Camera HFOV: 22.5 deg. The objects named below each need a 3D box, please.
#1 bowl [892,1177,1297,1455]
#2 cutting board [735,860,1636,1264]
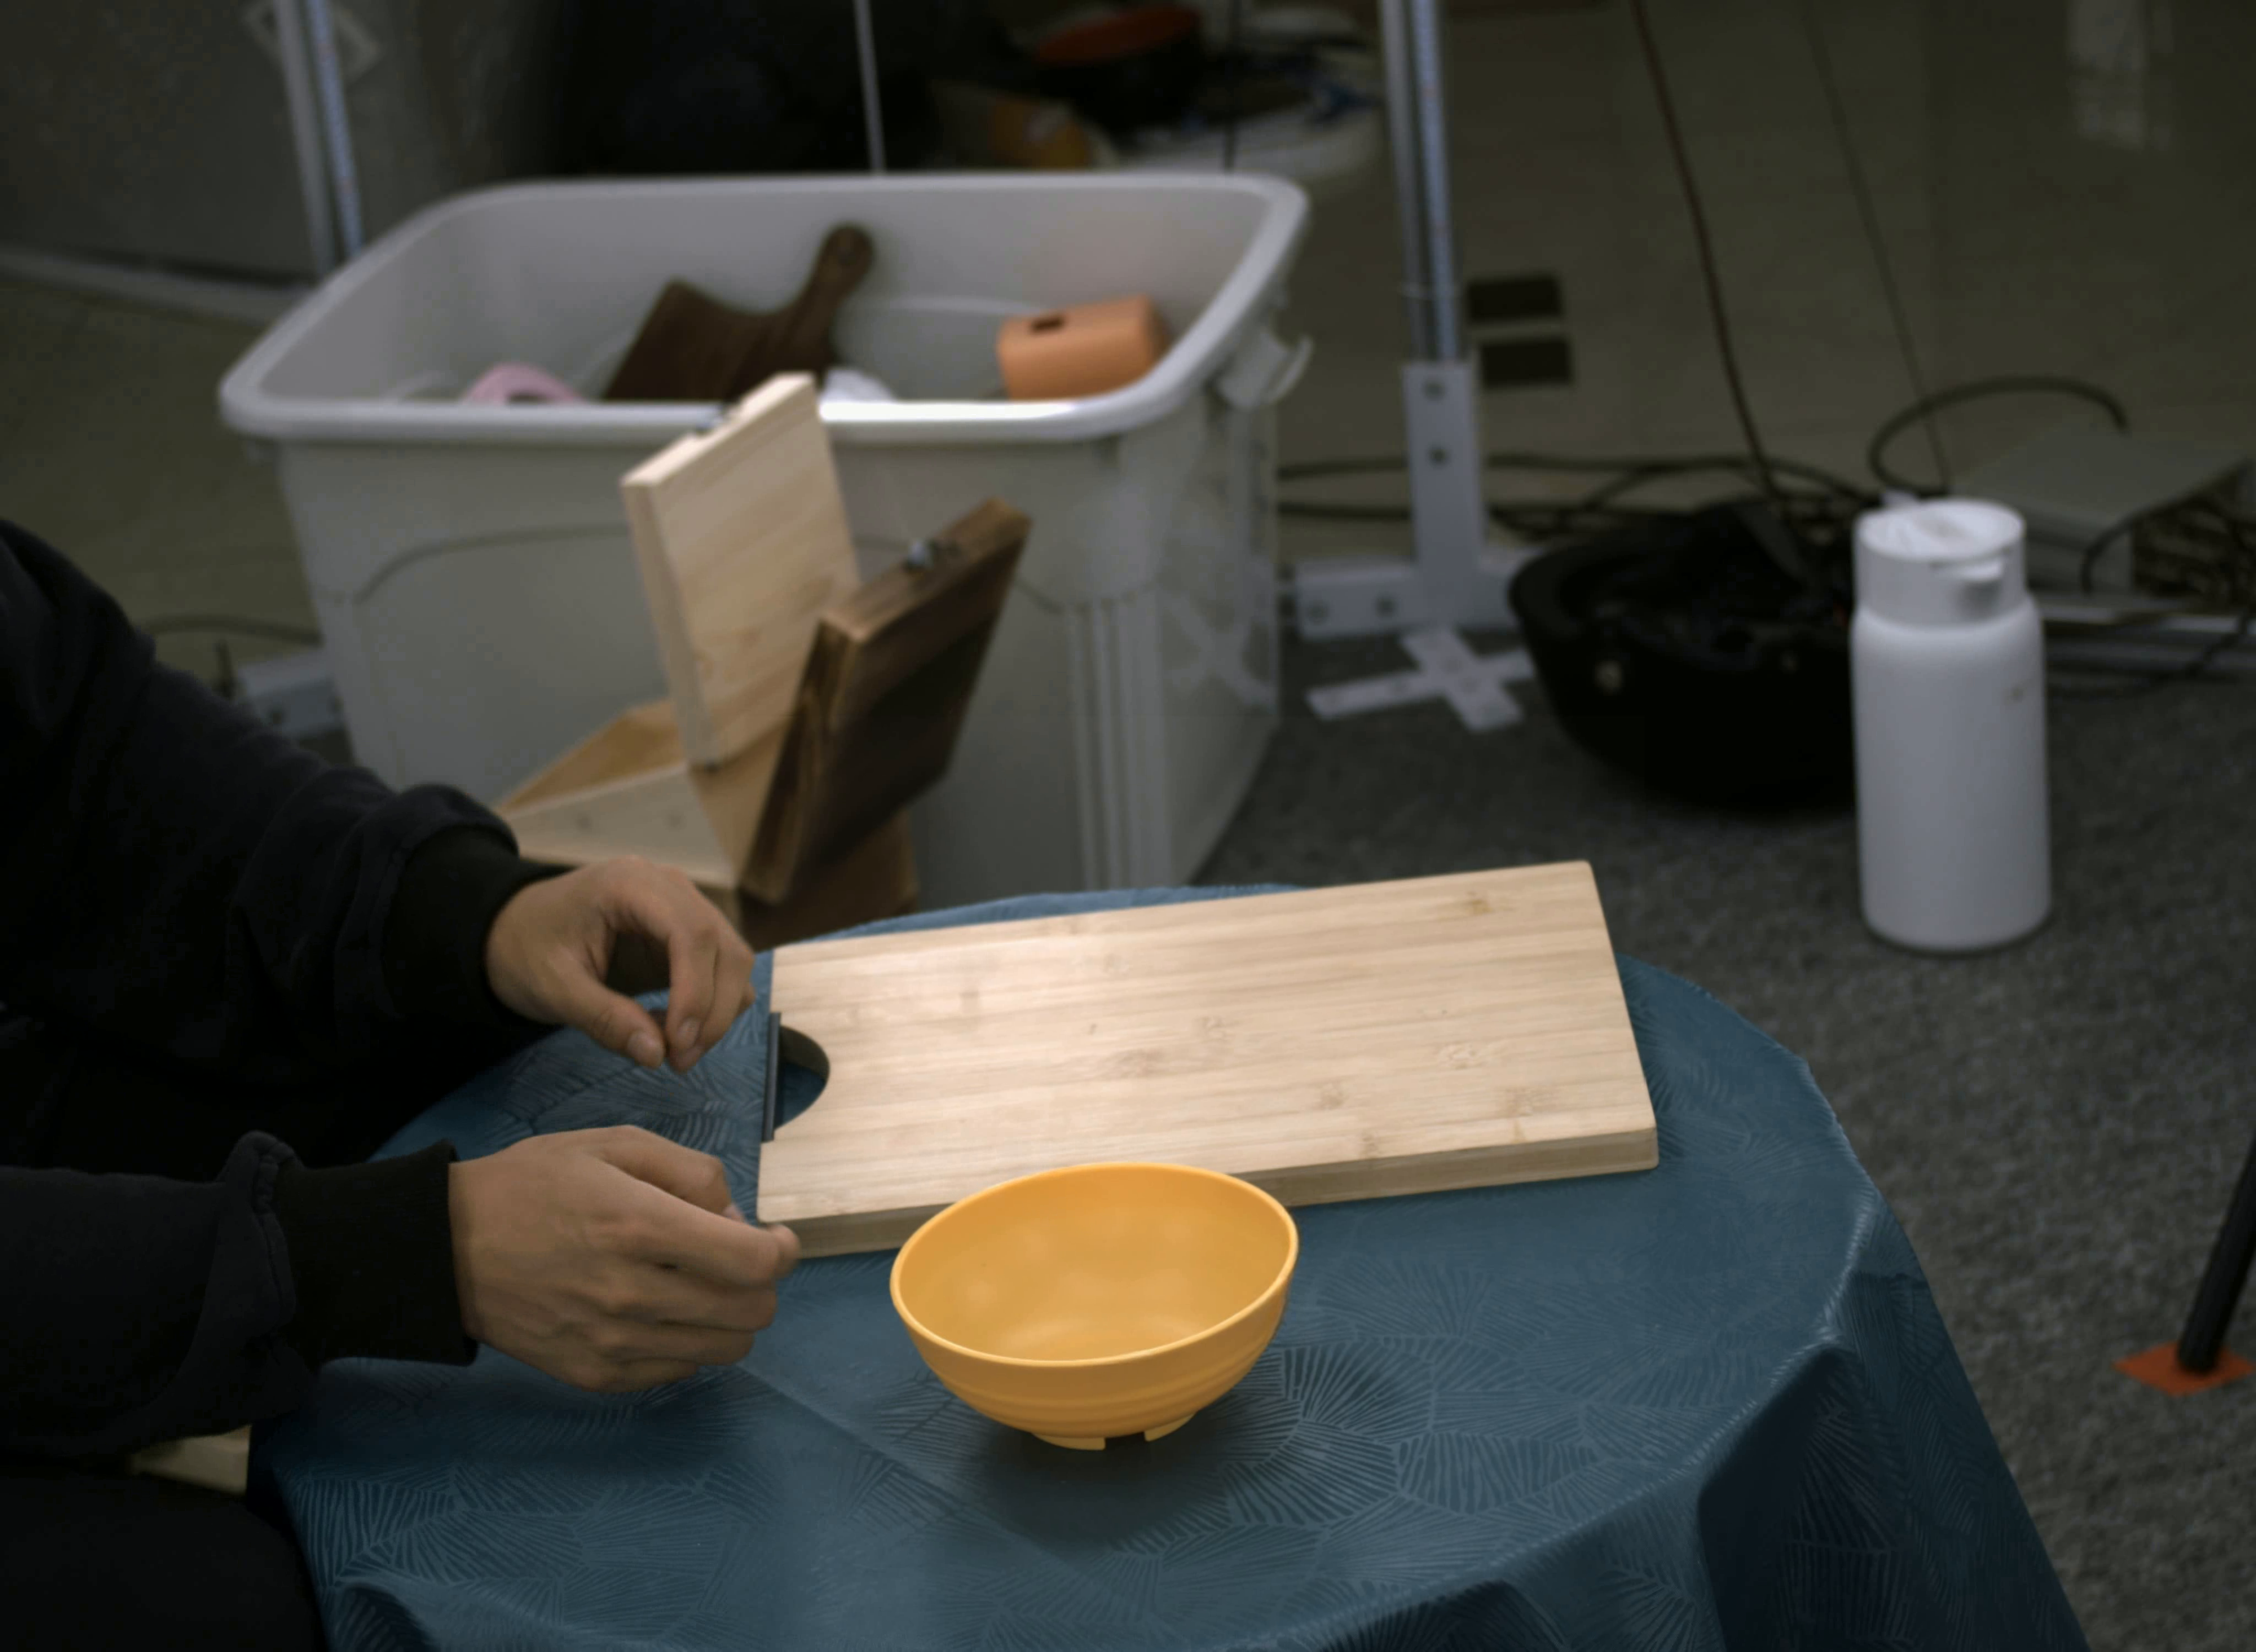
[{"bbox_3d":[-0.008,0.180,2.000,0.145,0.061,0.143,-6,23,3],"label":"bowl"},{"bbox_3d":[0.021,0.091,2.233,0.348,0.024,0.247,-6,25,0],"label":"cutting board"}]
